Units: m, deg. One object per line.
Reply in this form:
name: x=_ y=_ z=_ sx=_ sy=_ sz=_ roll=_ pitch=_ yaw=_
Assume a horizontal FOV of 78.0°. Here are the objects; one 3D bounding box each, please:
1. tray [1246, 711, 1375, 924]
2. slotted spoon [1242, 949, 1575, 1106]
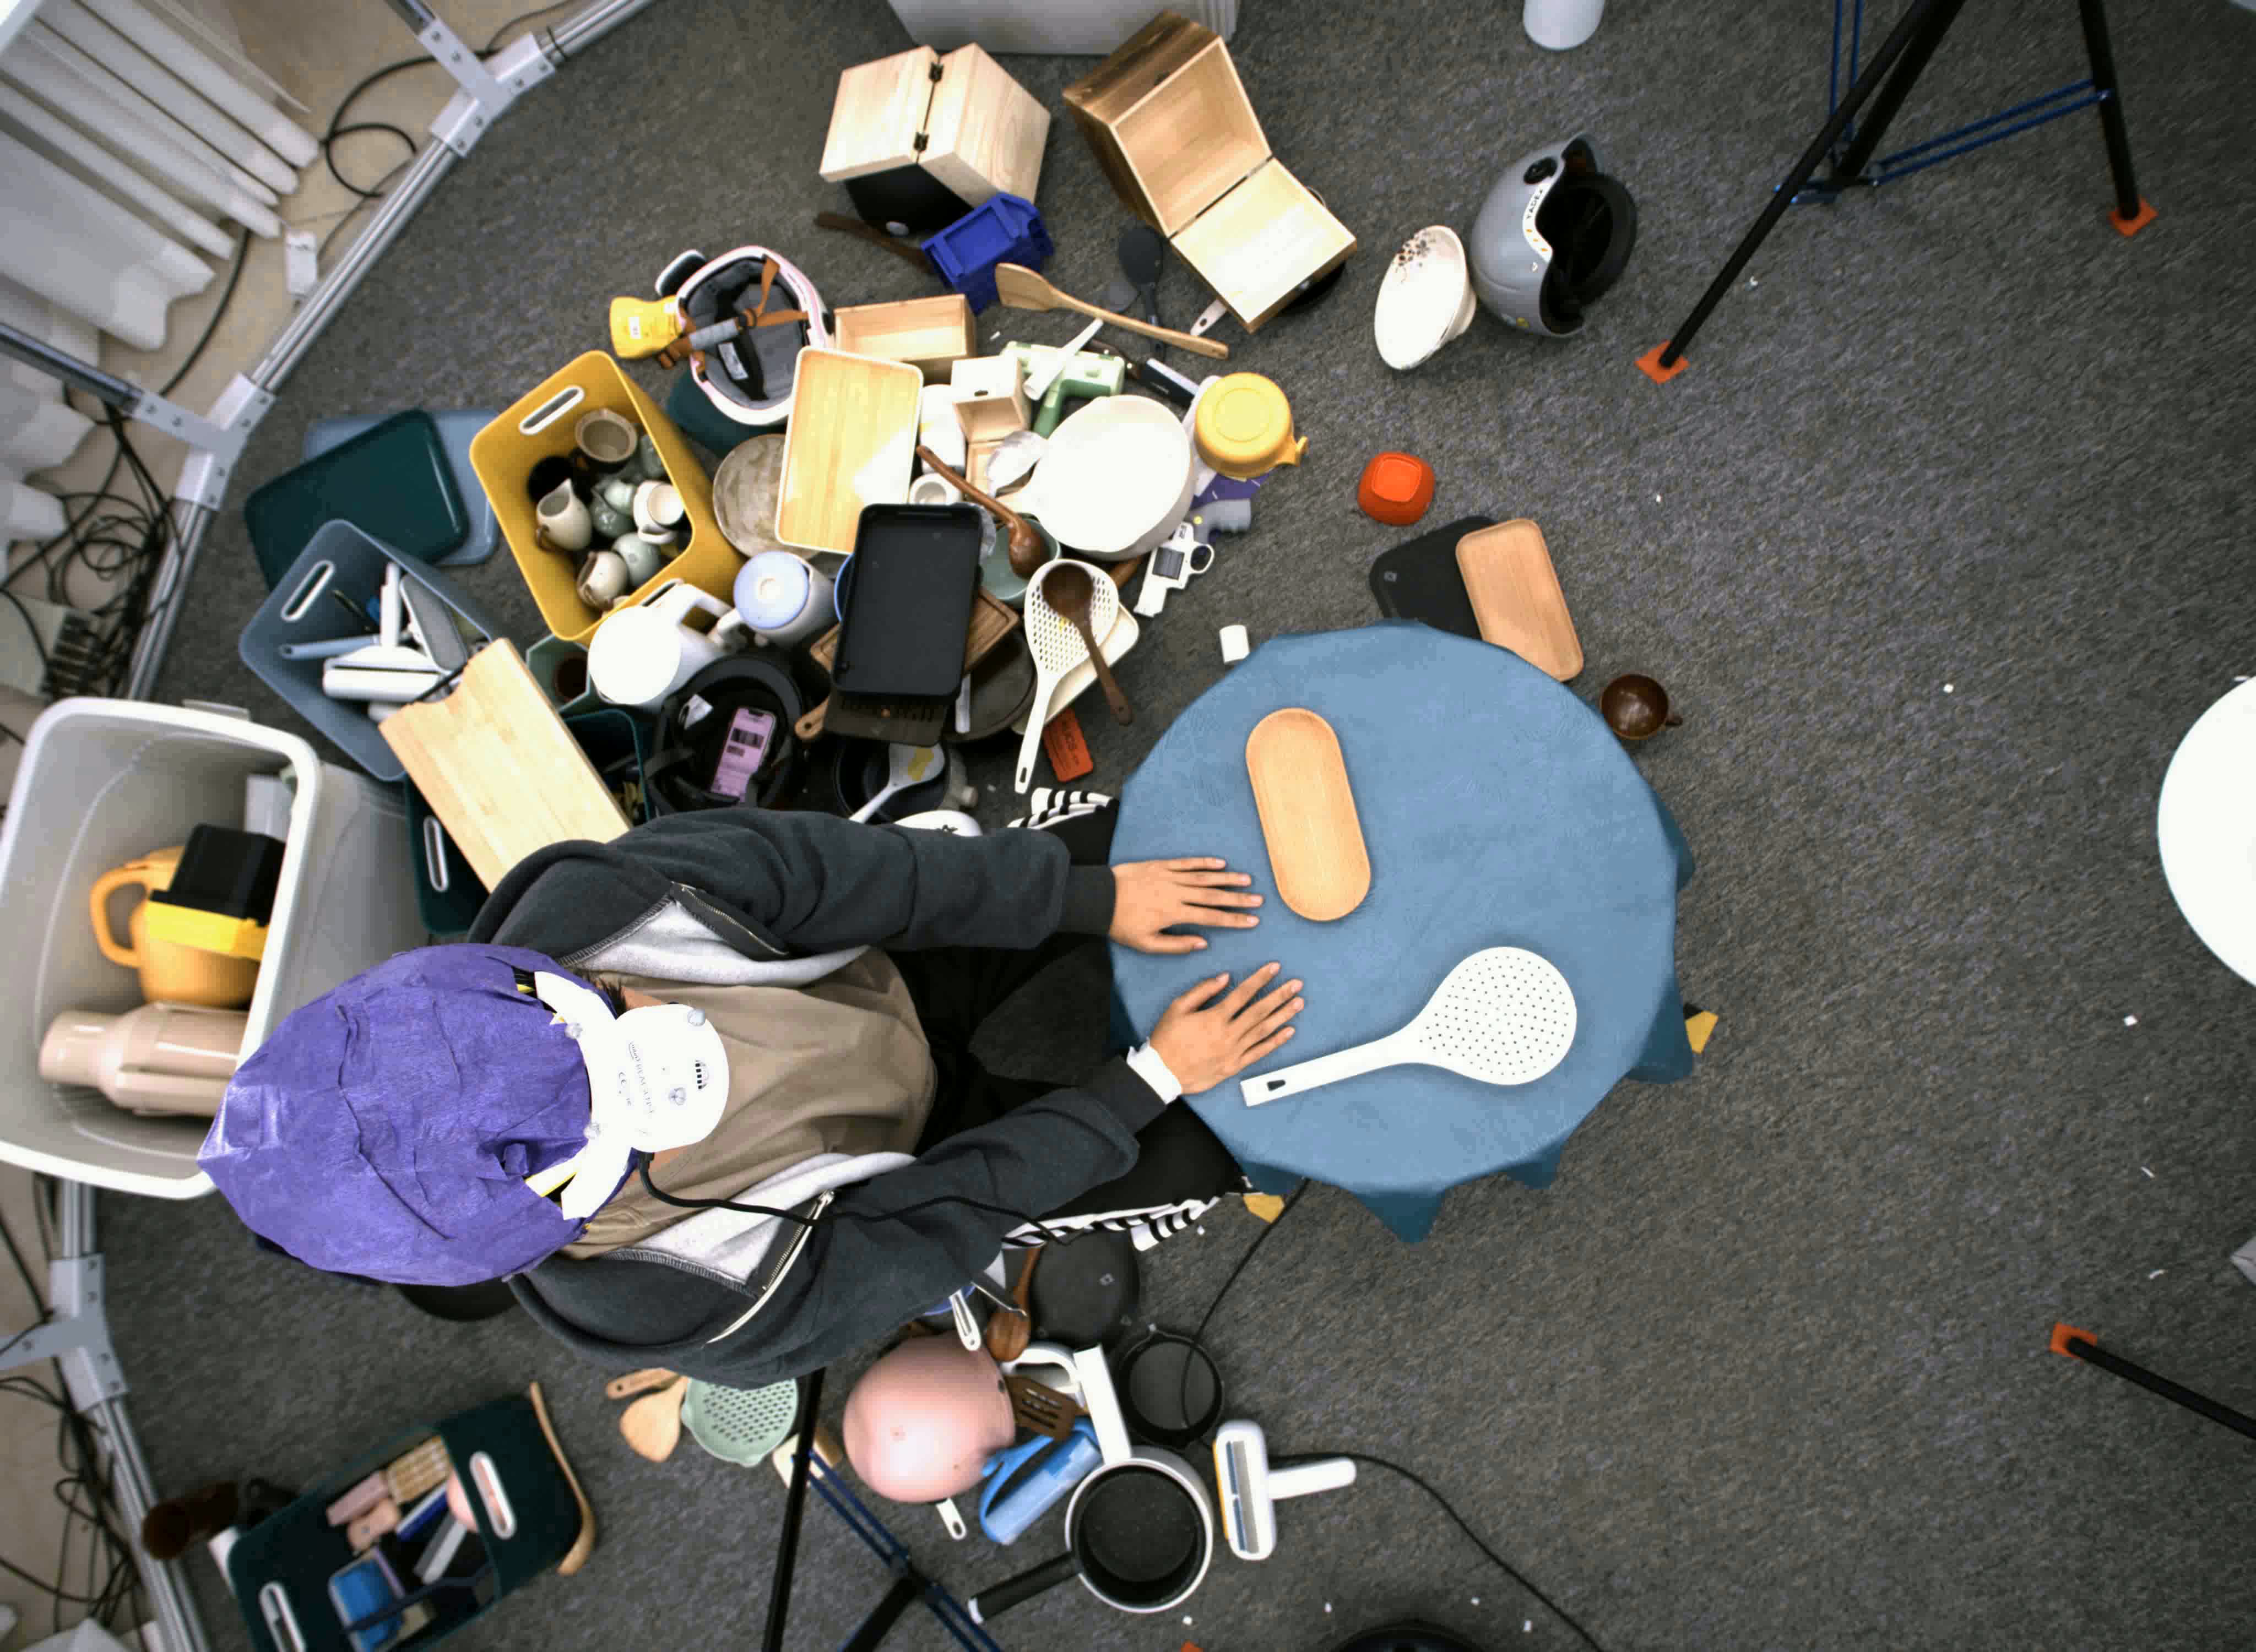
tray: x=0.194 y=-0.010 z=1.470 sx=0.102 sy=0.020 sz=0.230 roll=-16 pitch=85 yaw=11
slotted spoon: x=0.284 y=0.227 z=1.425 sx=0.352 sy=0.046 sz=0.135 roll=-19 pitch=82 yaw=10
